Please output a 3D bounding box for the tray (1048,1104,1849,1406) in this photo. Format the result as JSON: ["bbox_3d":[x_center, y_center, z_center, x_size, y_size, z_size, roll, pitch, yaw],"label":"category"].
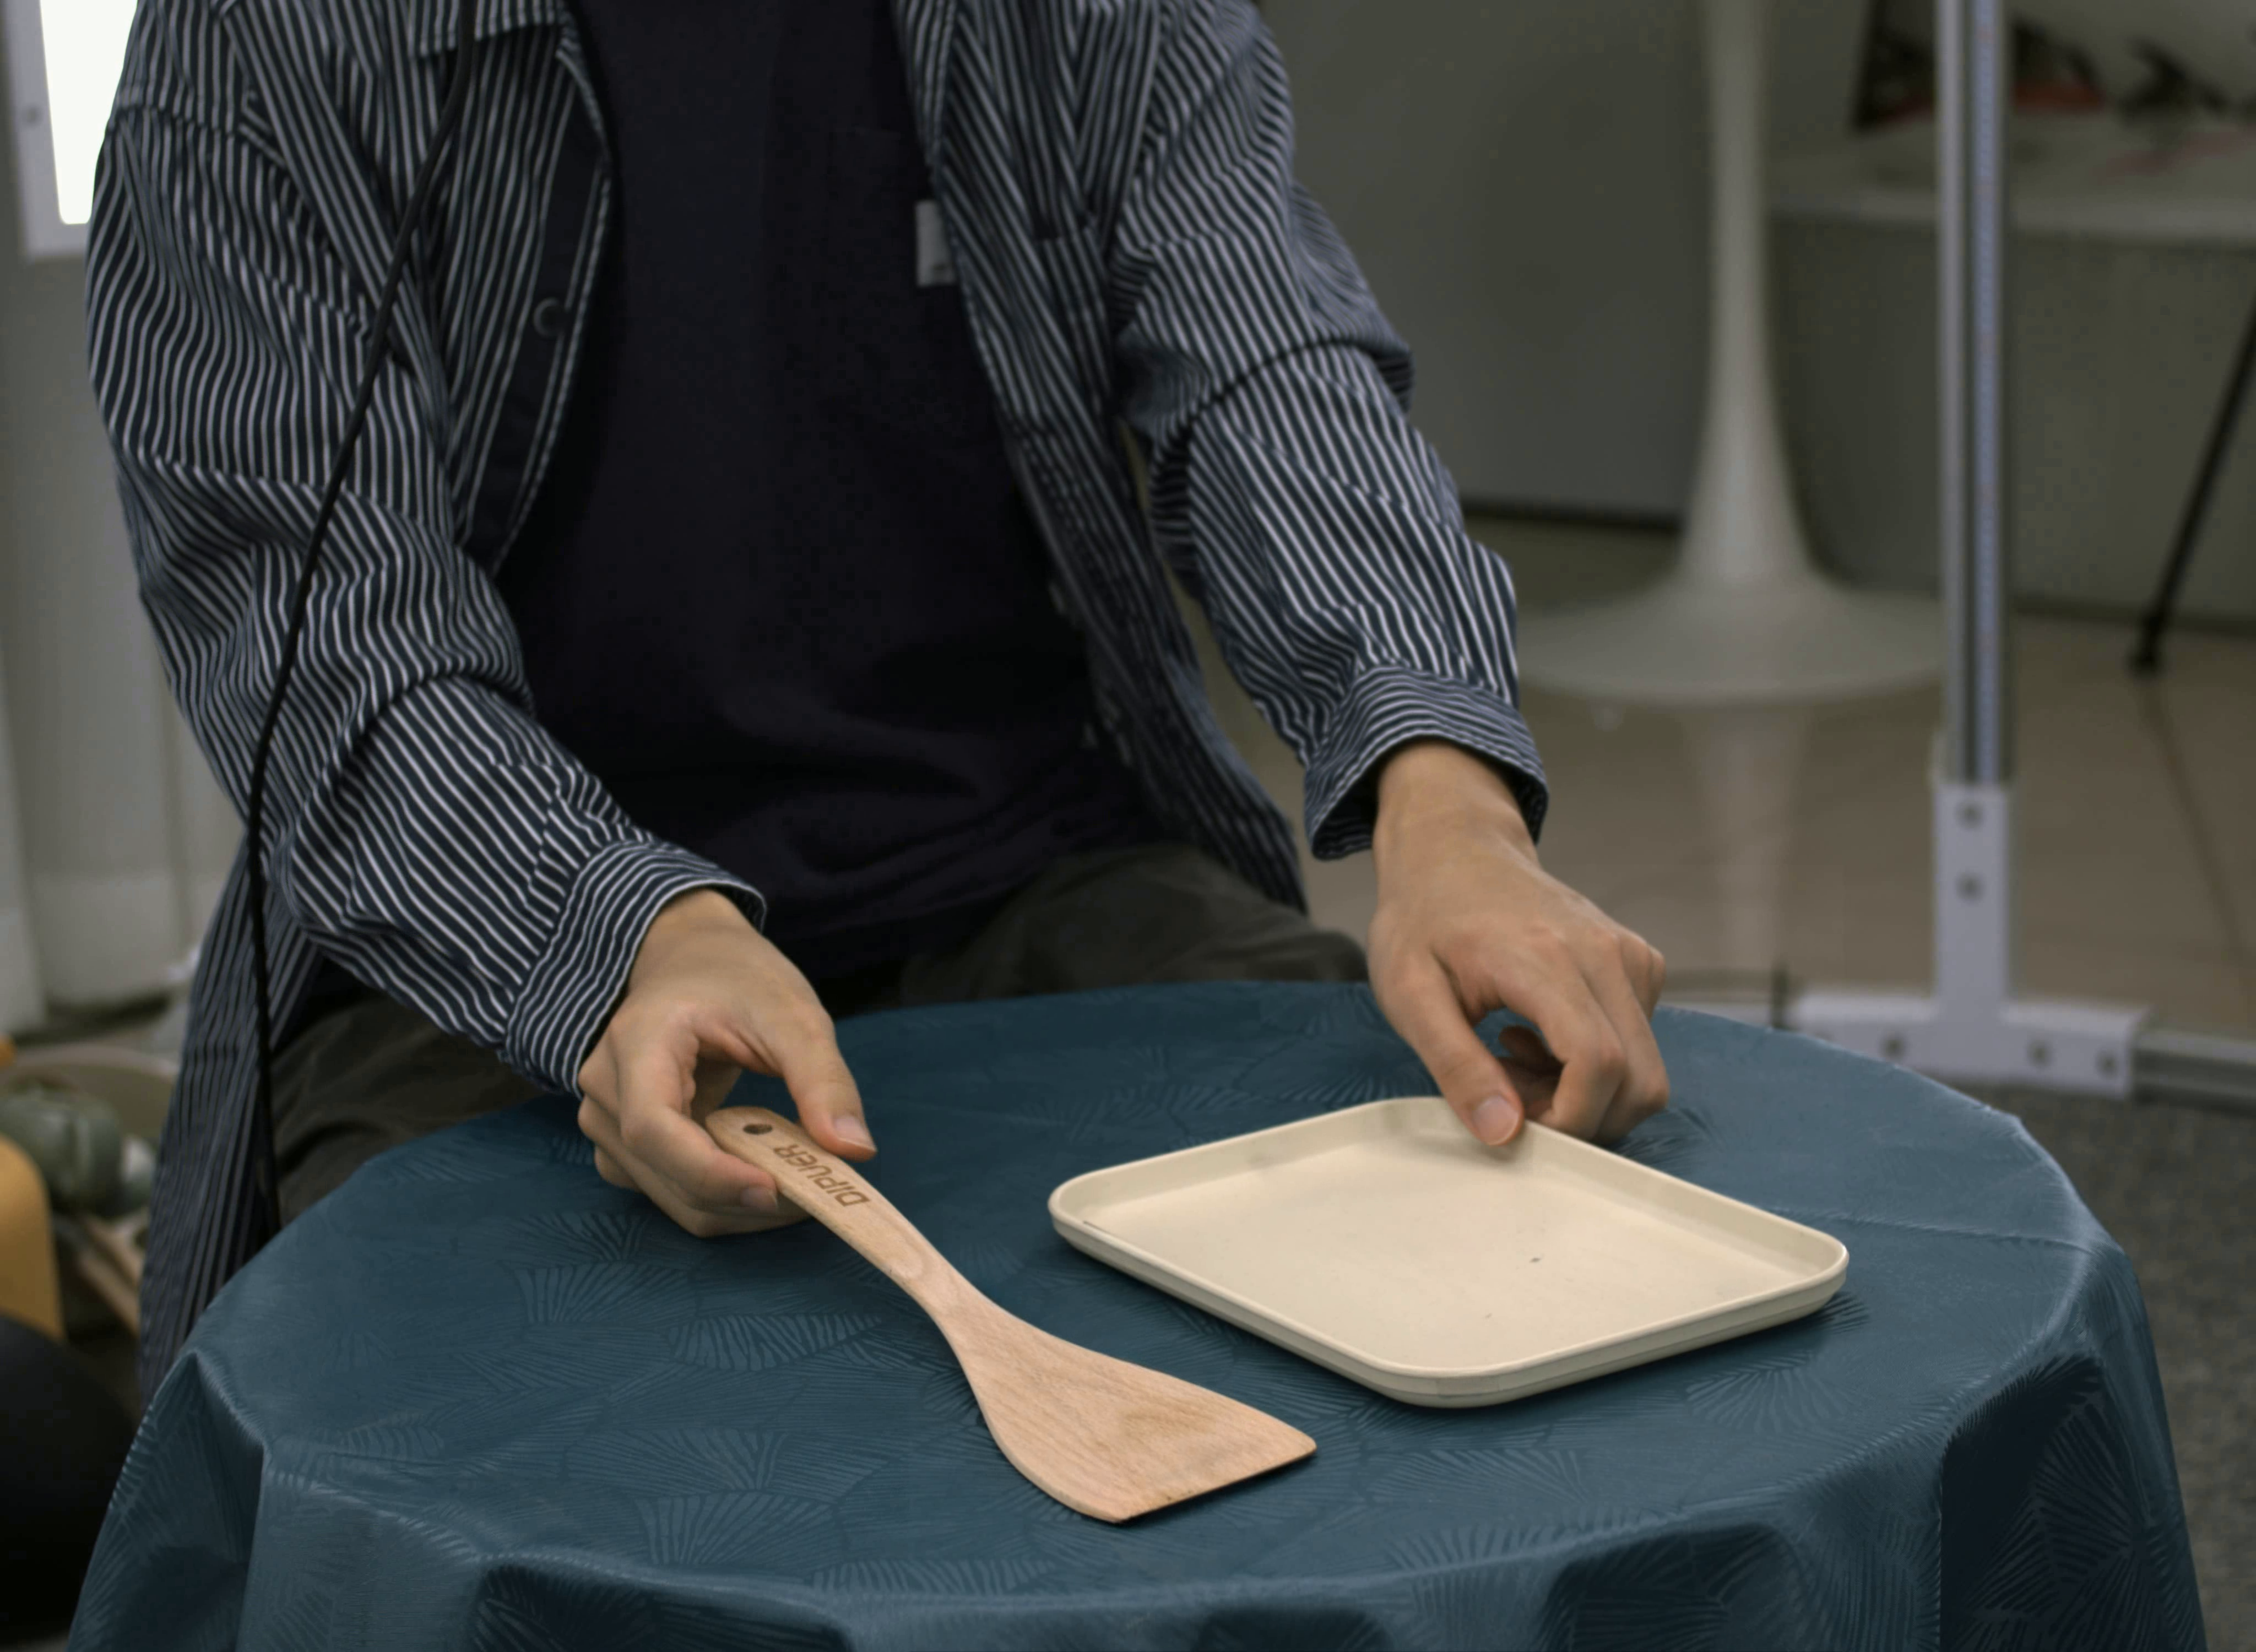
[{"bbox_3d":[0.096,0.131,1.664,0.167,0.017,0.242,-11,15,-29],"label":"tray"}]

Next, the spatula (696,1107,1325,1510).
[{"bbox_3d":[-0.050,0.139,1.631,0.078,0.017,0.331,-10,23,-28],"label":"spatula"}]
